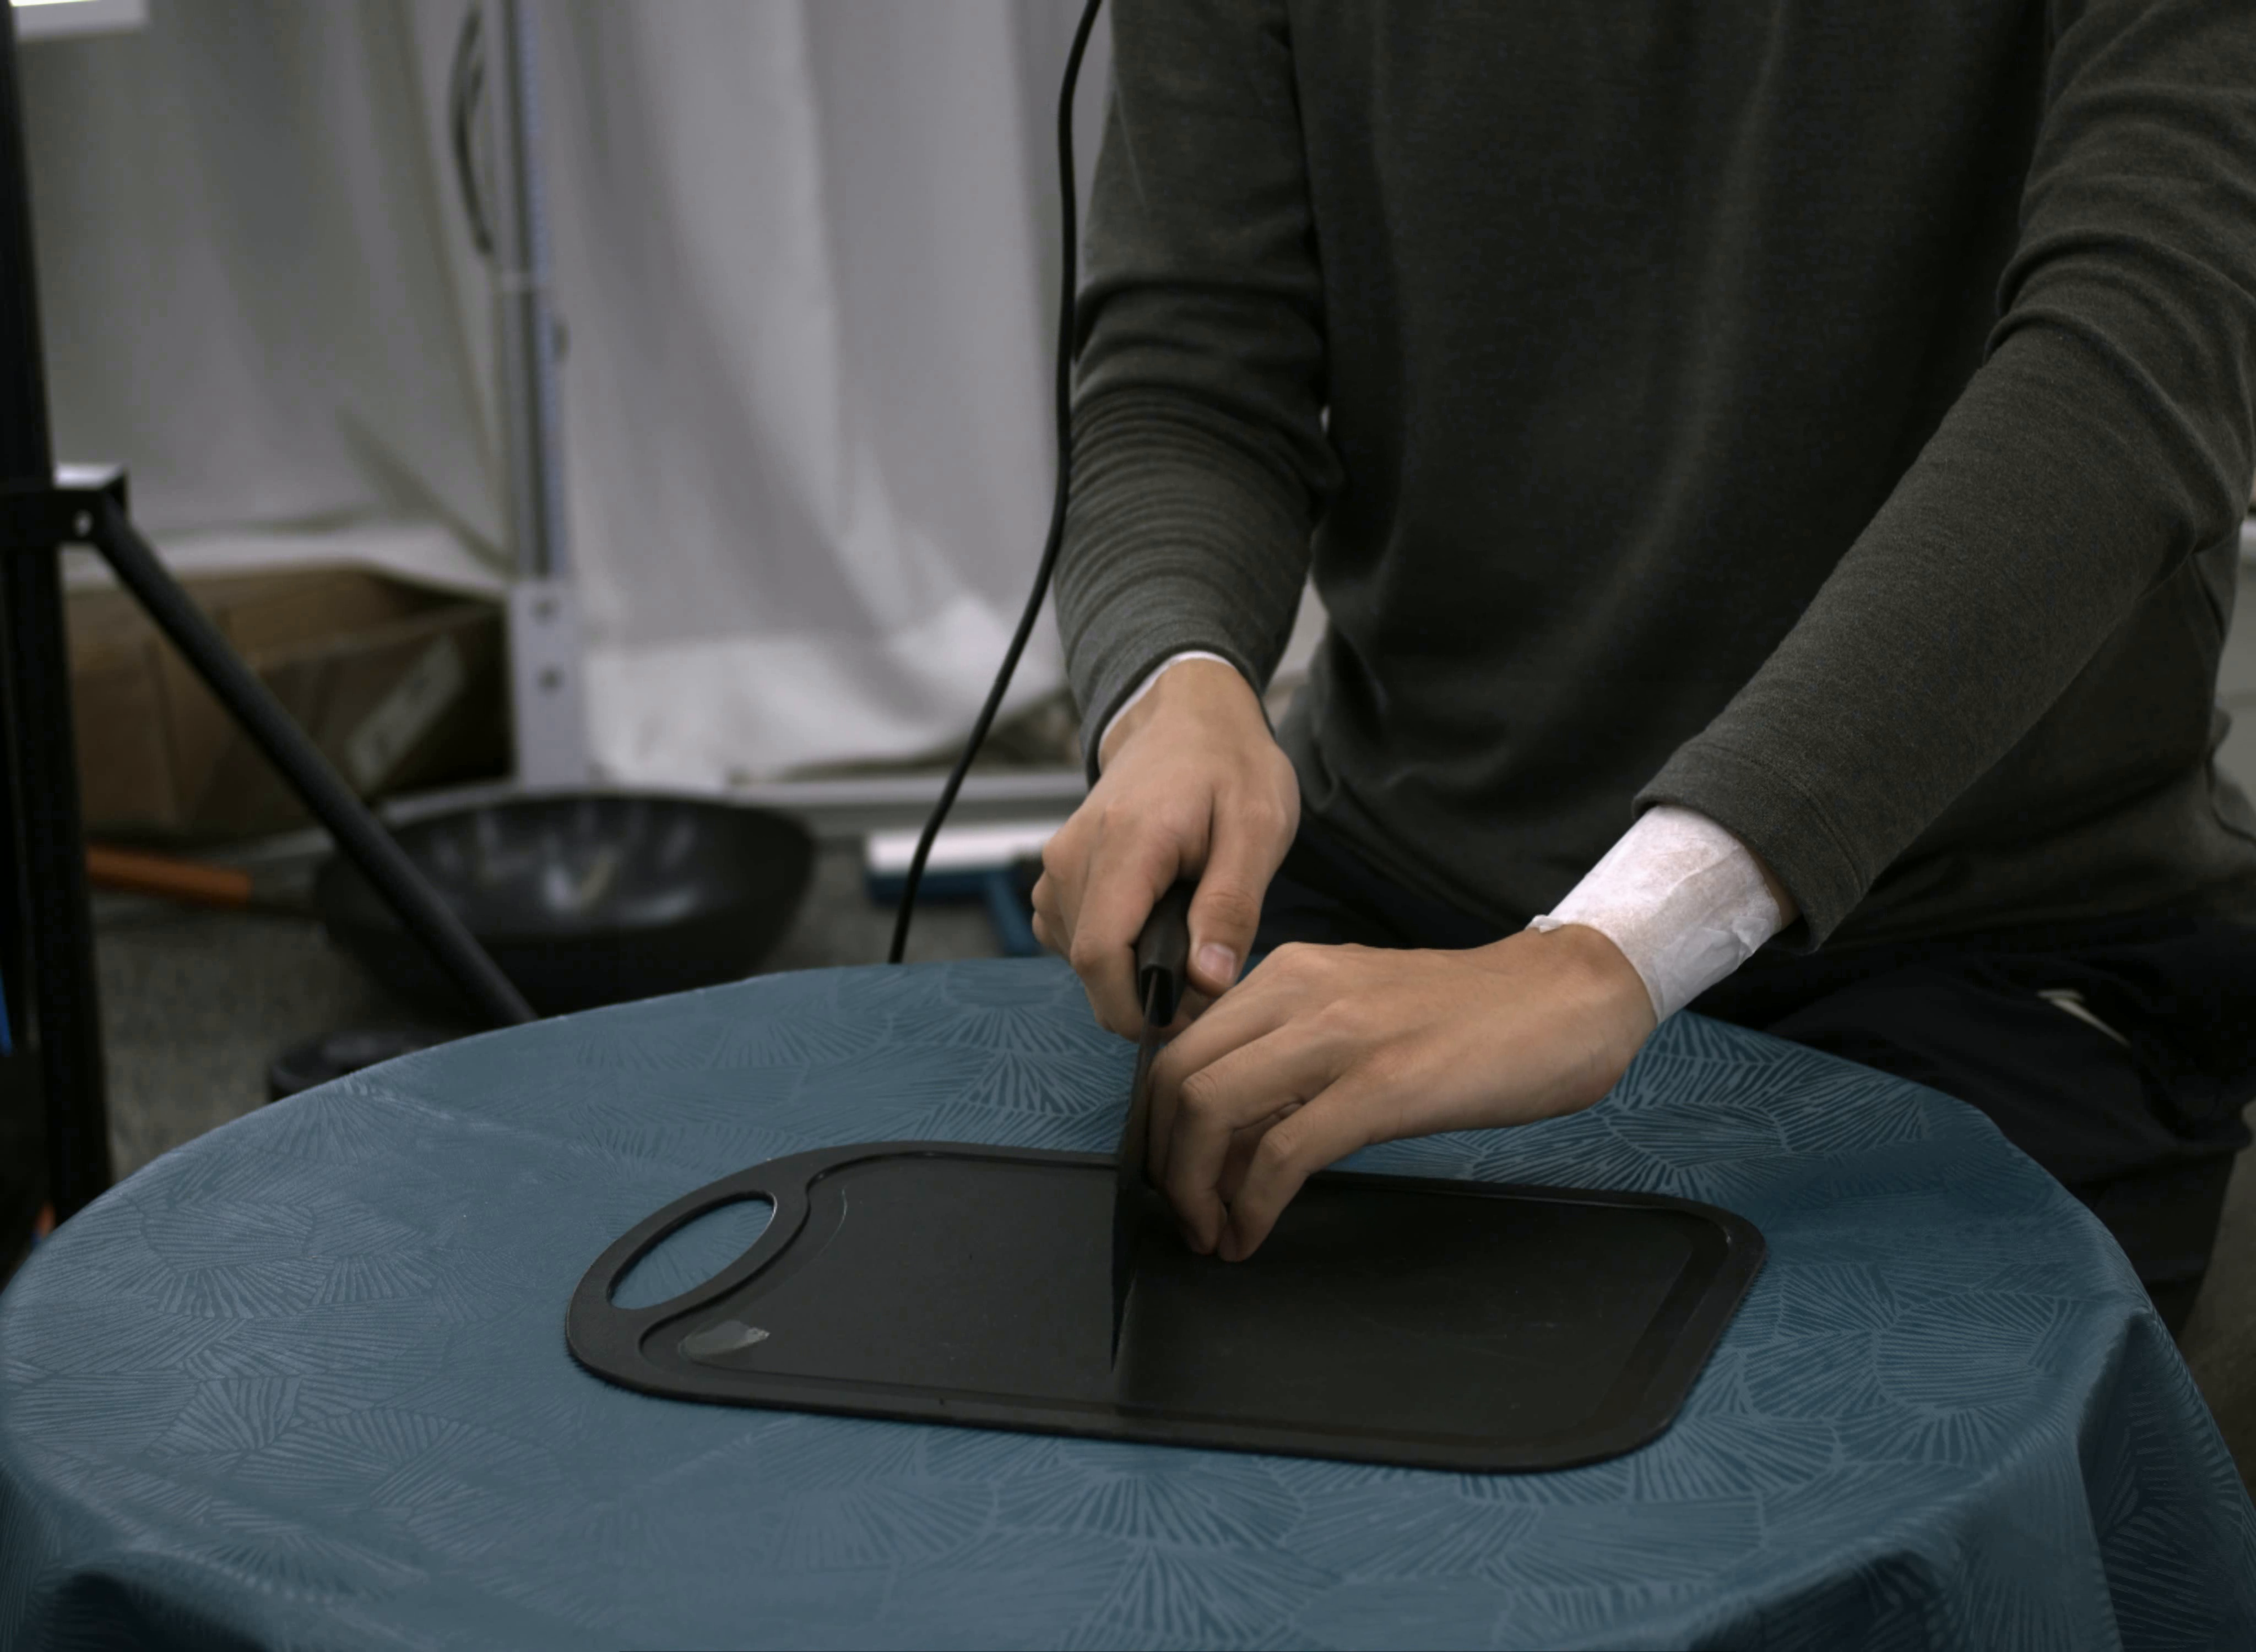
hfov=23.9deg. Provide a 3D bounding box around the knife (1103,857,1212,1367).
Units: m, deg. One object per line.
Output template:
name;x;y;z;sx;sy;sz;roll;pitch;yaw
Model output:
knife;0.006;0.073;1.532;0.021;0.081;0.303;3;20;3

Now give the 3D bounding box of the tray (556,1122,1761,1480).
tray;0.004;0.127;1.475;0.329;0.010;0.209;4;19;20
